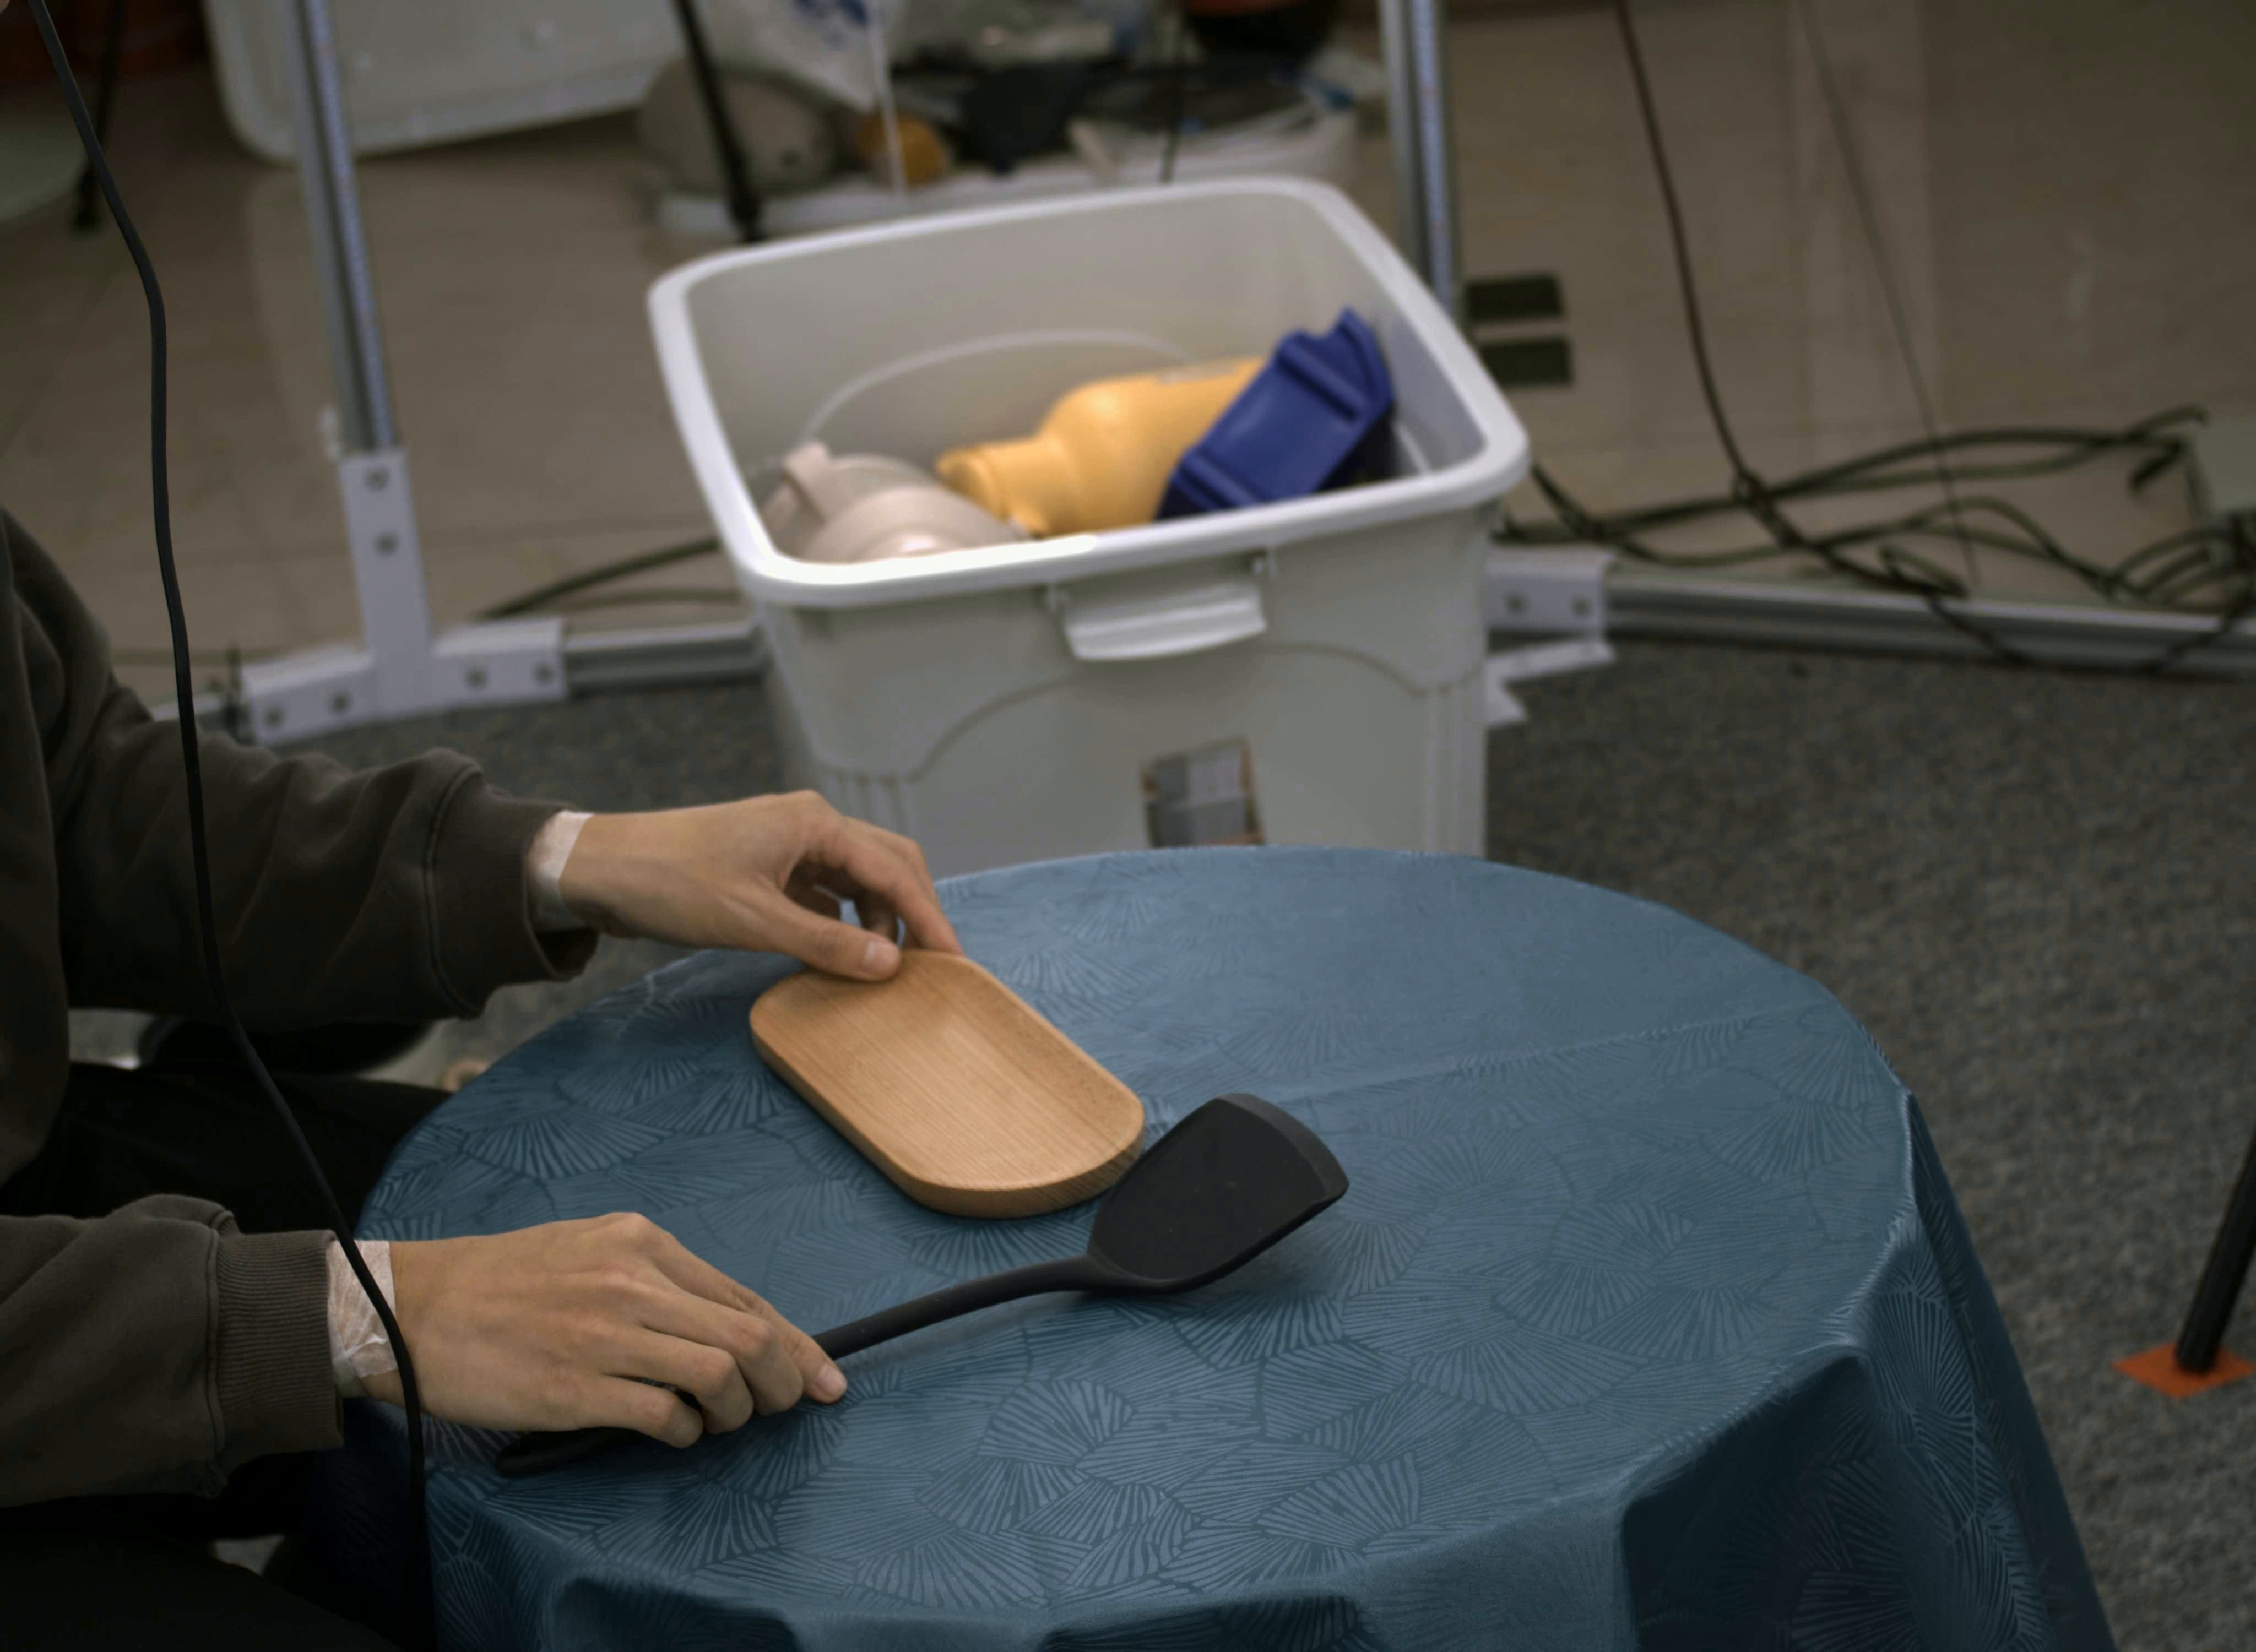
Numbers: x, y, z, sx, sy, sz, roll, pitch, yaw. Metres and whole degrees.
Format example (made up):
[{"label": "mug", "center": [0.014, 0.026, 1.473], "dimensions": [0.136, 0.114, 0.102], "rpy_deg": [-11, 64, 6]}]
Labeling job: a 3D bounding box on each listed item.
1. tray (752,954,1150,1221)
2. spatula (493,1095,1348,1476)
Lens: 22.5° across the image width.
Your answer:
[{"label": "tray", "center": [-0.071, 0.101, 2.227], "dimensions": [0.101, 0.020, 0.228], "rpy_deg": [-17, 28, -22]}, {"label": "spatula", "center": [-0.078, 0.172, 2.052], "dimensions": [0.325, 0.041, 0.098], "rpy_deg": [-16, 25, -19]}]
